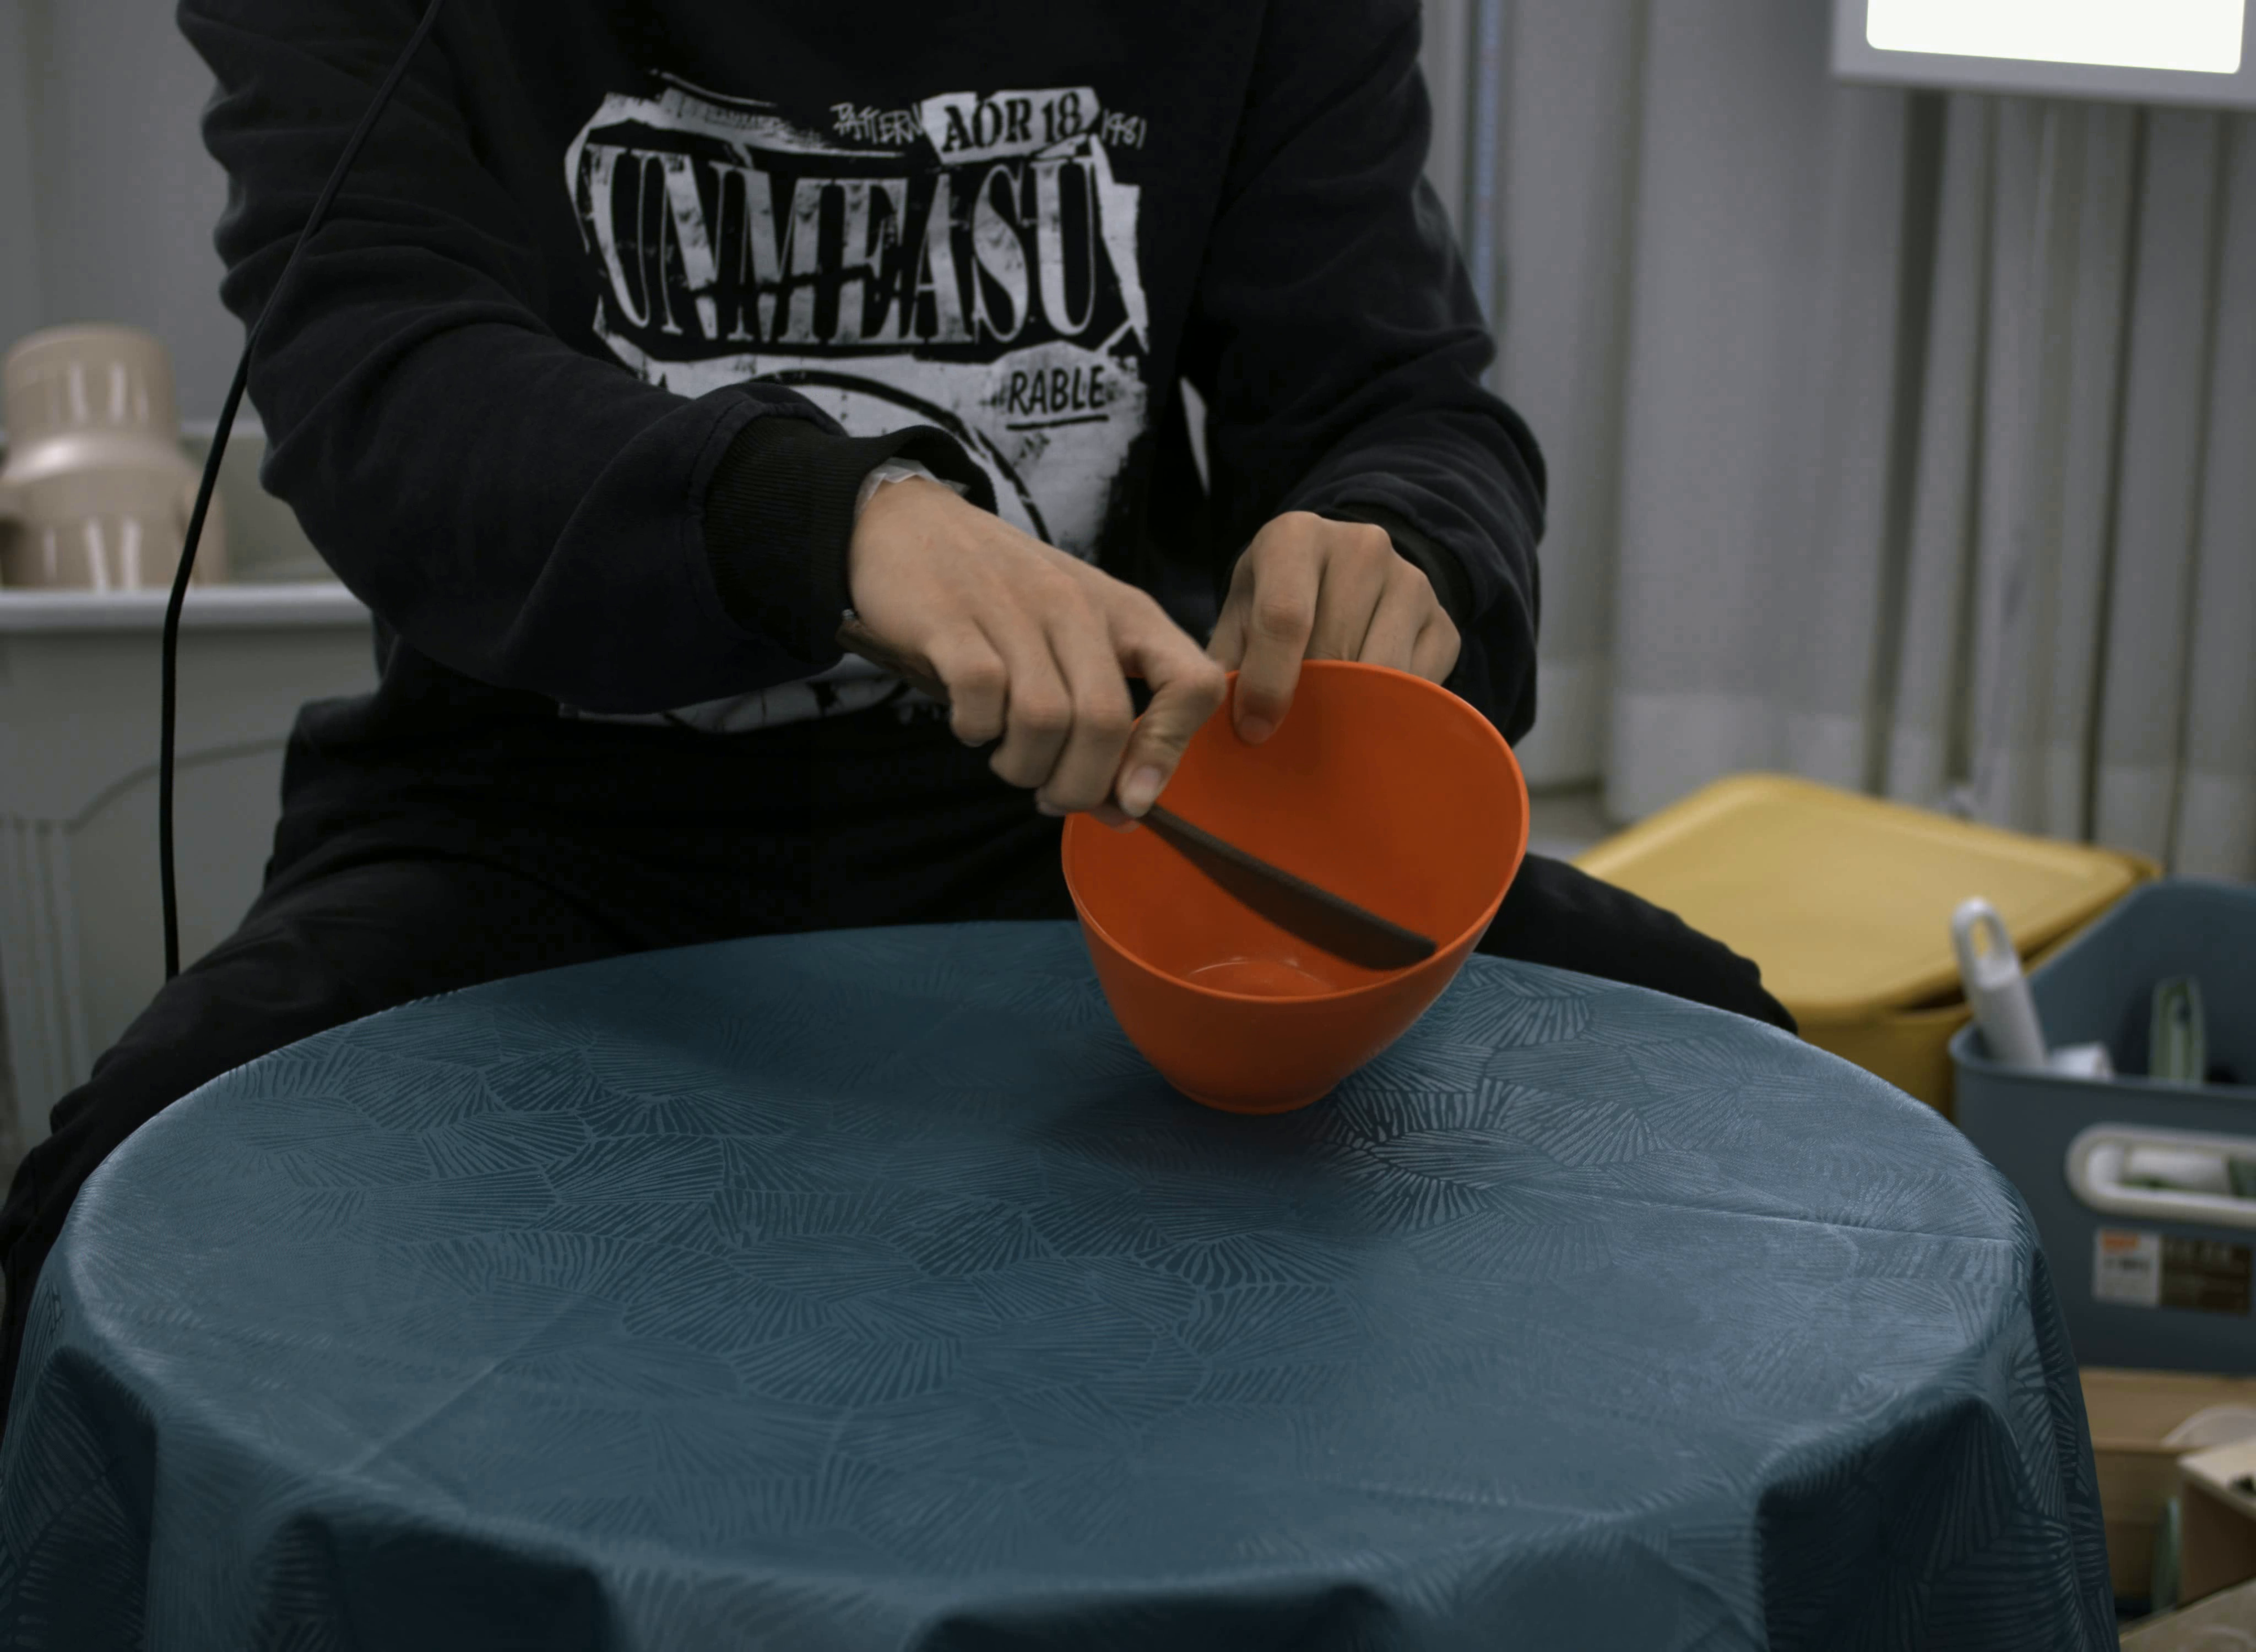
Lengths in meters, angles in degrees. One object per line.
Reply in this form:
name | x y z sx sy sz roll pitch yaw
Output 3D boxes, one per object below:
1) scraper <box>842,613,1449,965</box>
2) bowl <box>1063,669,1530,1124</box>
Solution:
scraper | 0.003 -0.010 1.631 0.211 0.011 0.076 30 -13 -4
bowl | 0.052 0.033 1.691 0.147 0.106 0.146 3 42 -2
